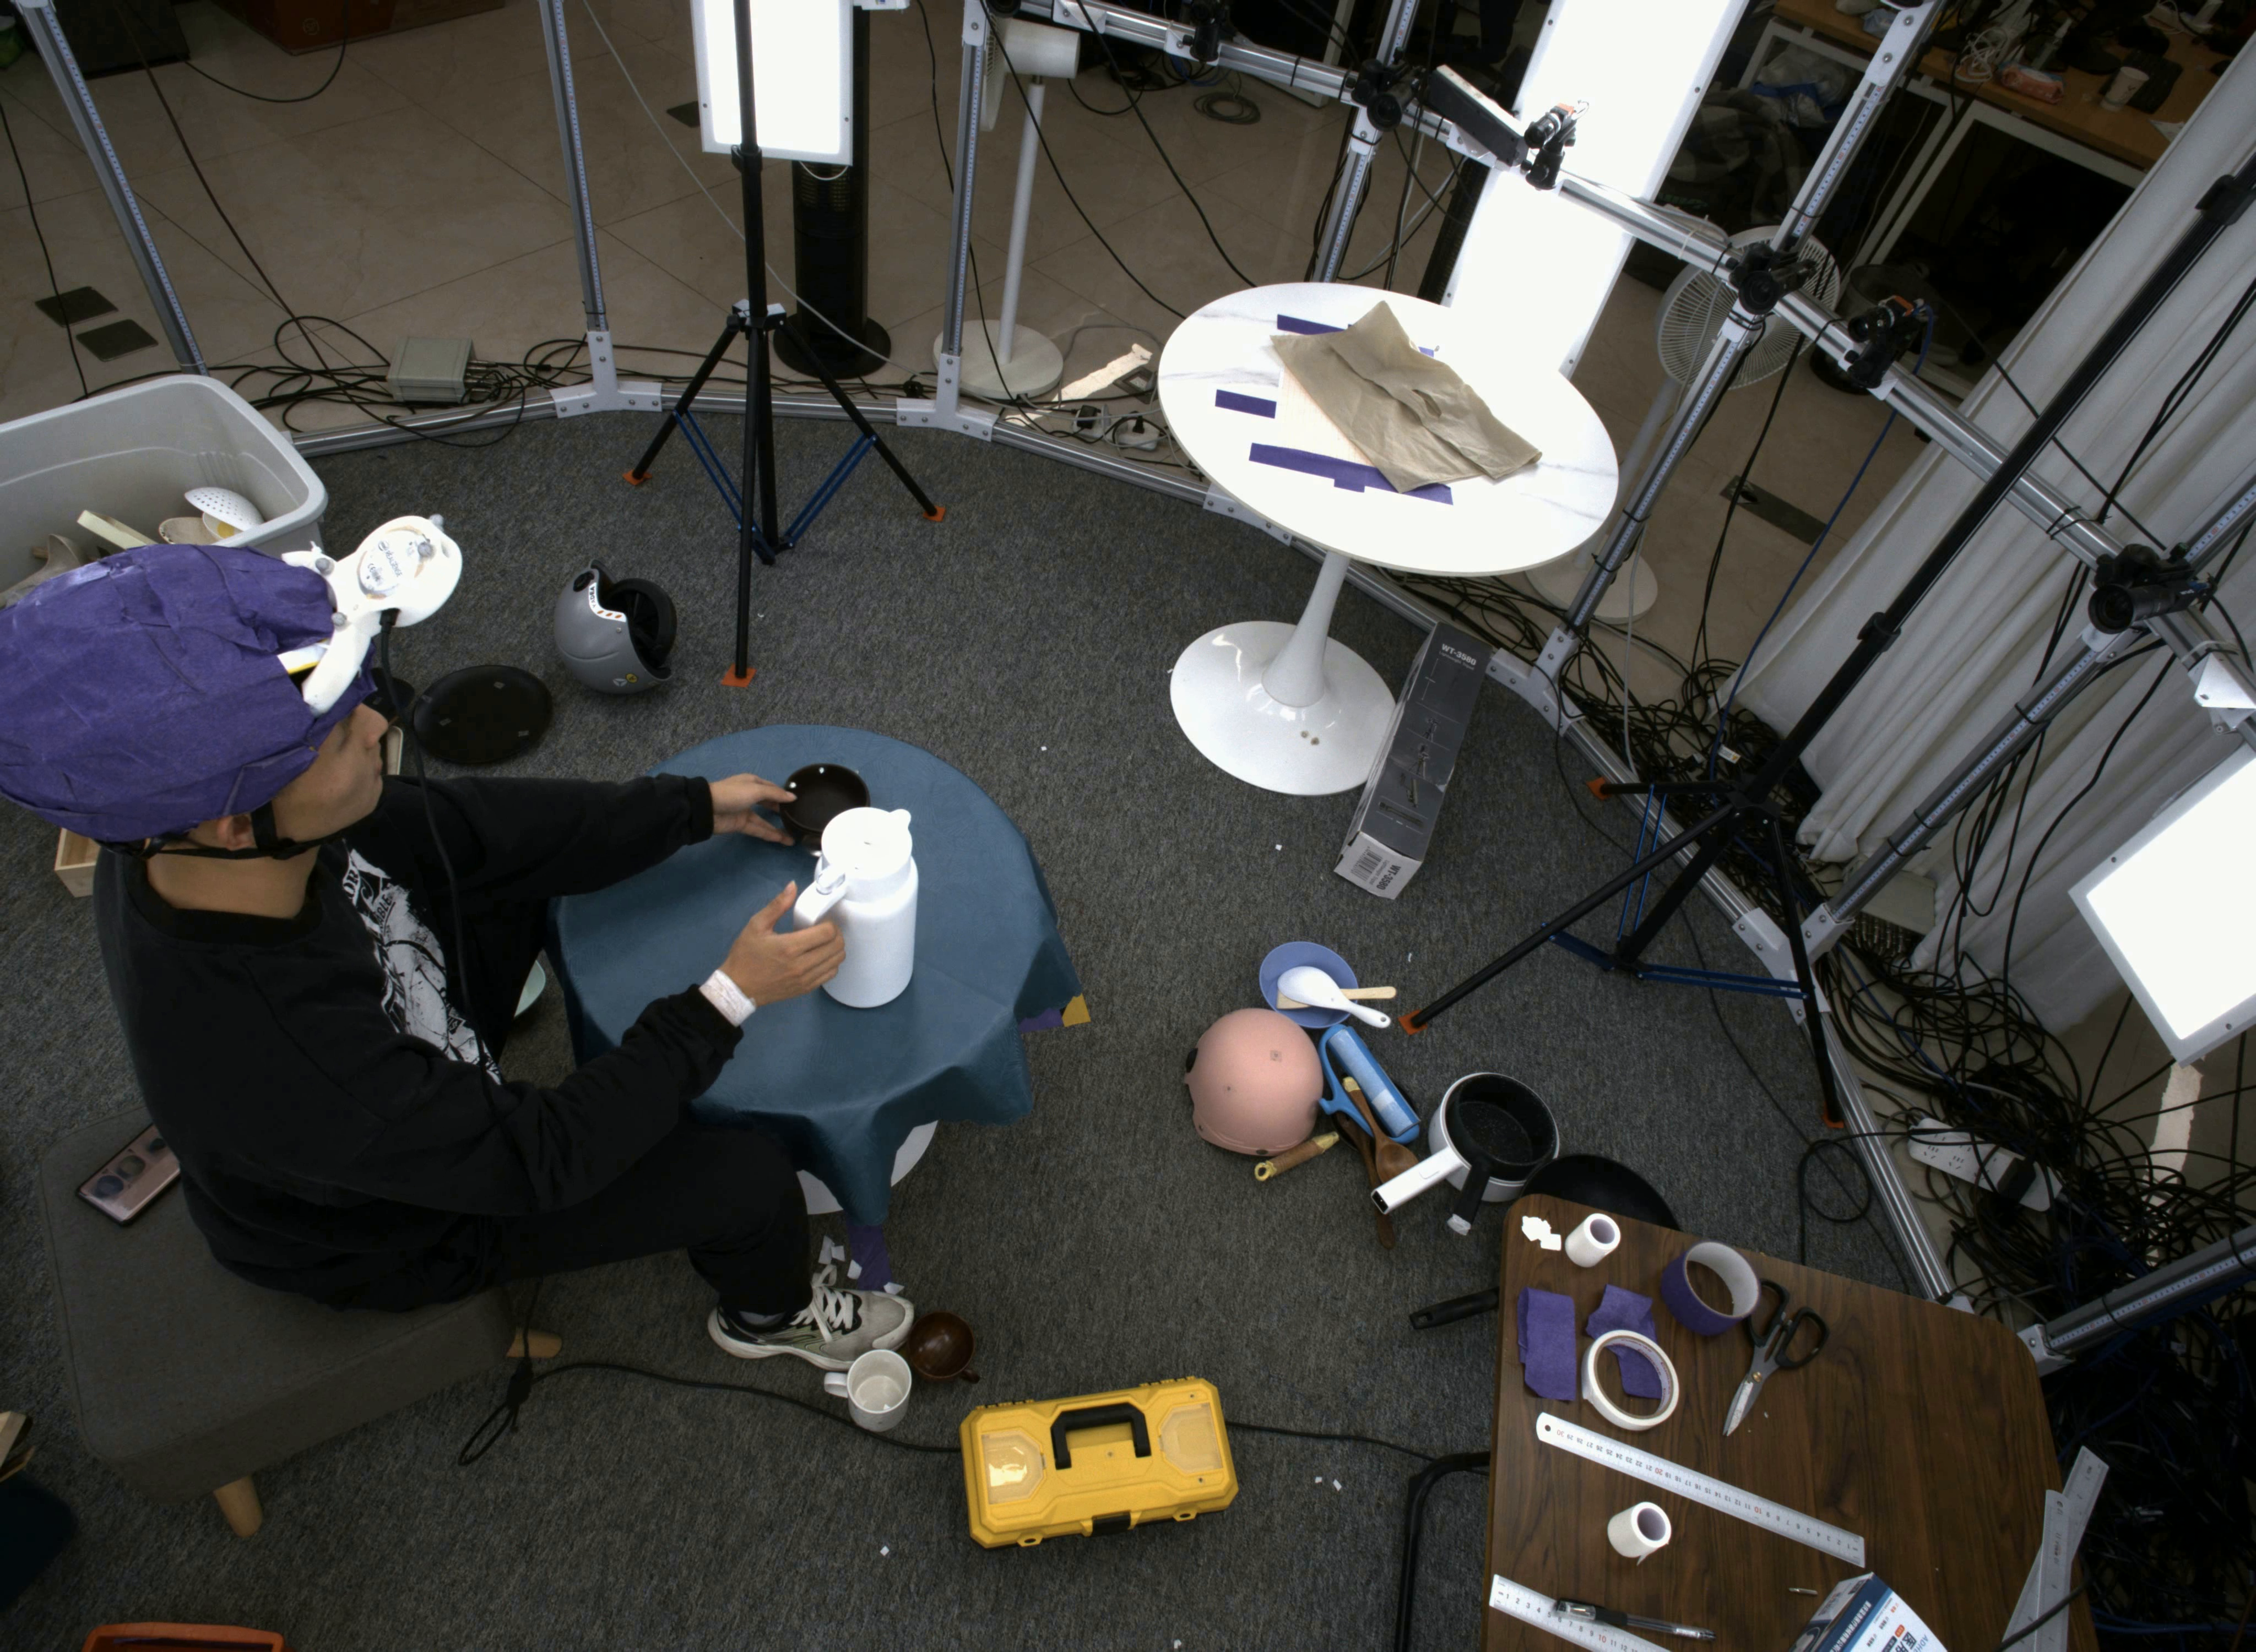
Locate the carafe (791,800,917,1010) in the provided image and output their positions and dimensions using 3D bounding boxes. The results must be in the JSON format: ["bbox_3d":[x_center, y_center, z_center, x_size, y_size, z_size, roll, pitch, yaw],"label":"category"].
[{"bbox_3d":[-0.314,0.106,1.498,0.121,0.274,0.172,32,53,12],"label":"carafe"}]

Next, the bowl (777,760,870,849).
[{"bbox_3d":[-0.397,-0.020,1.696,0.118,0.071,0.116,7,53,-8],"label":"bowl"}]
